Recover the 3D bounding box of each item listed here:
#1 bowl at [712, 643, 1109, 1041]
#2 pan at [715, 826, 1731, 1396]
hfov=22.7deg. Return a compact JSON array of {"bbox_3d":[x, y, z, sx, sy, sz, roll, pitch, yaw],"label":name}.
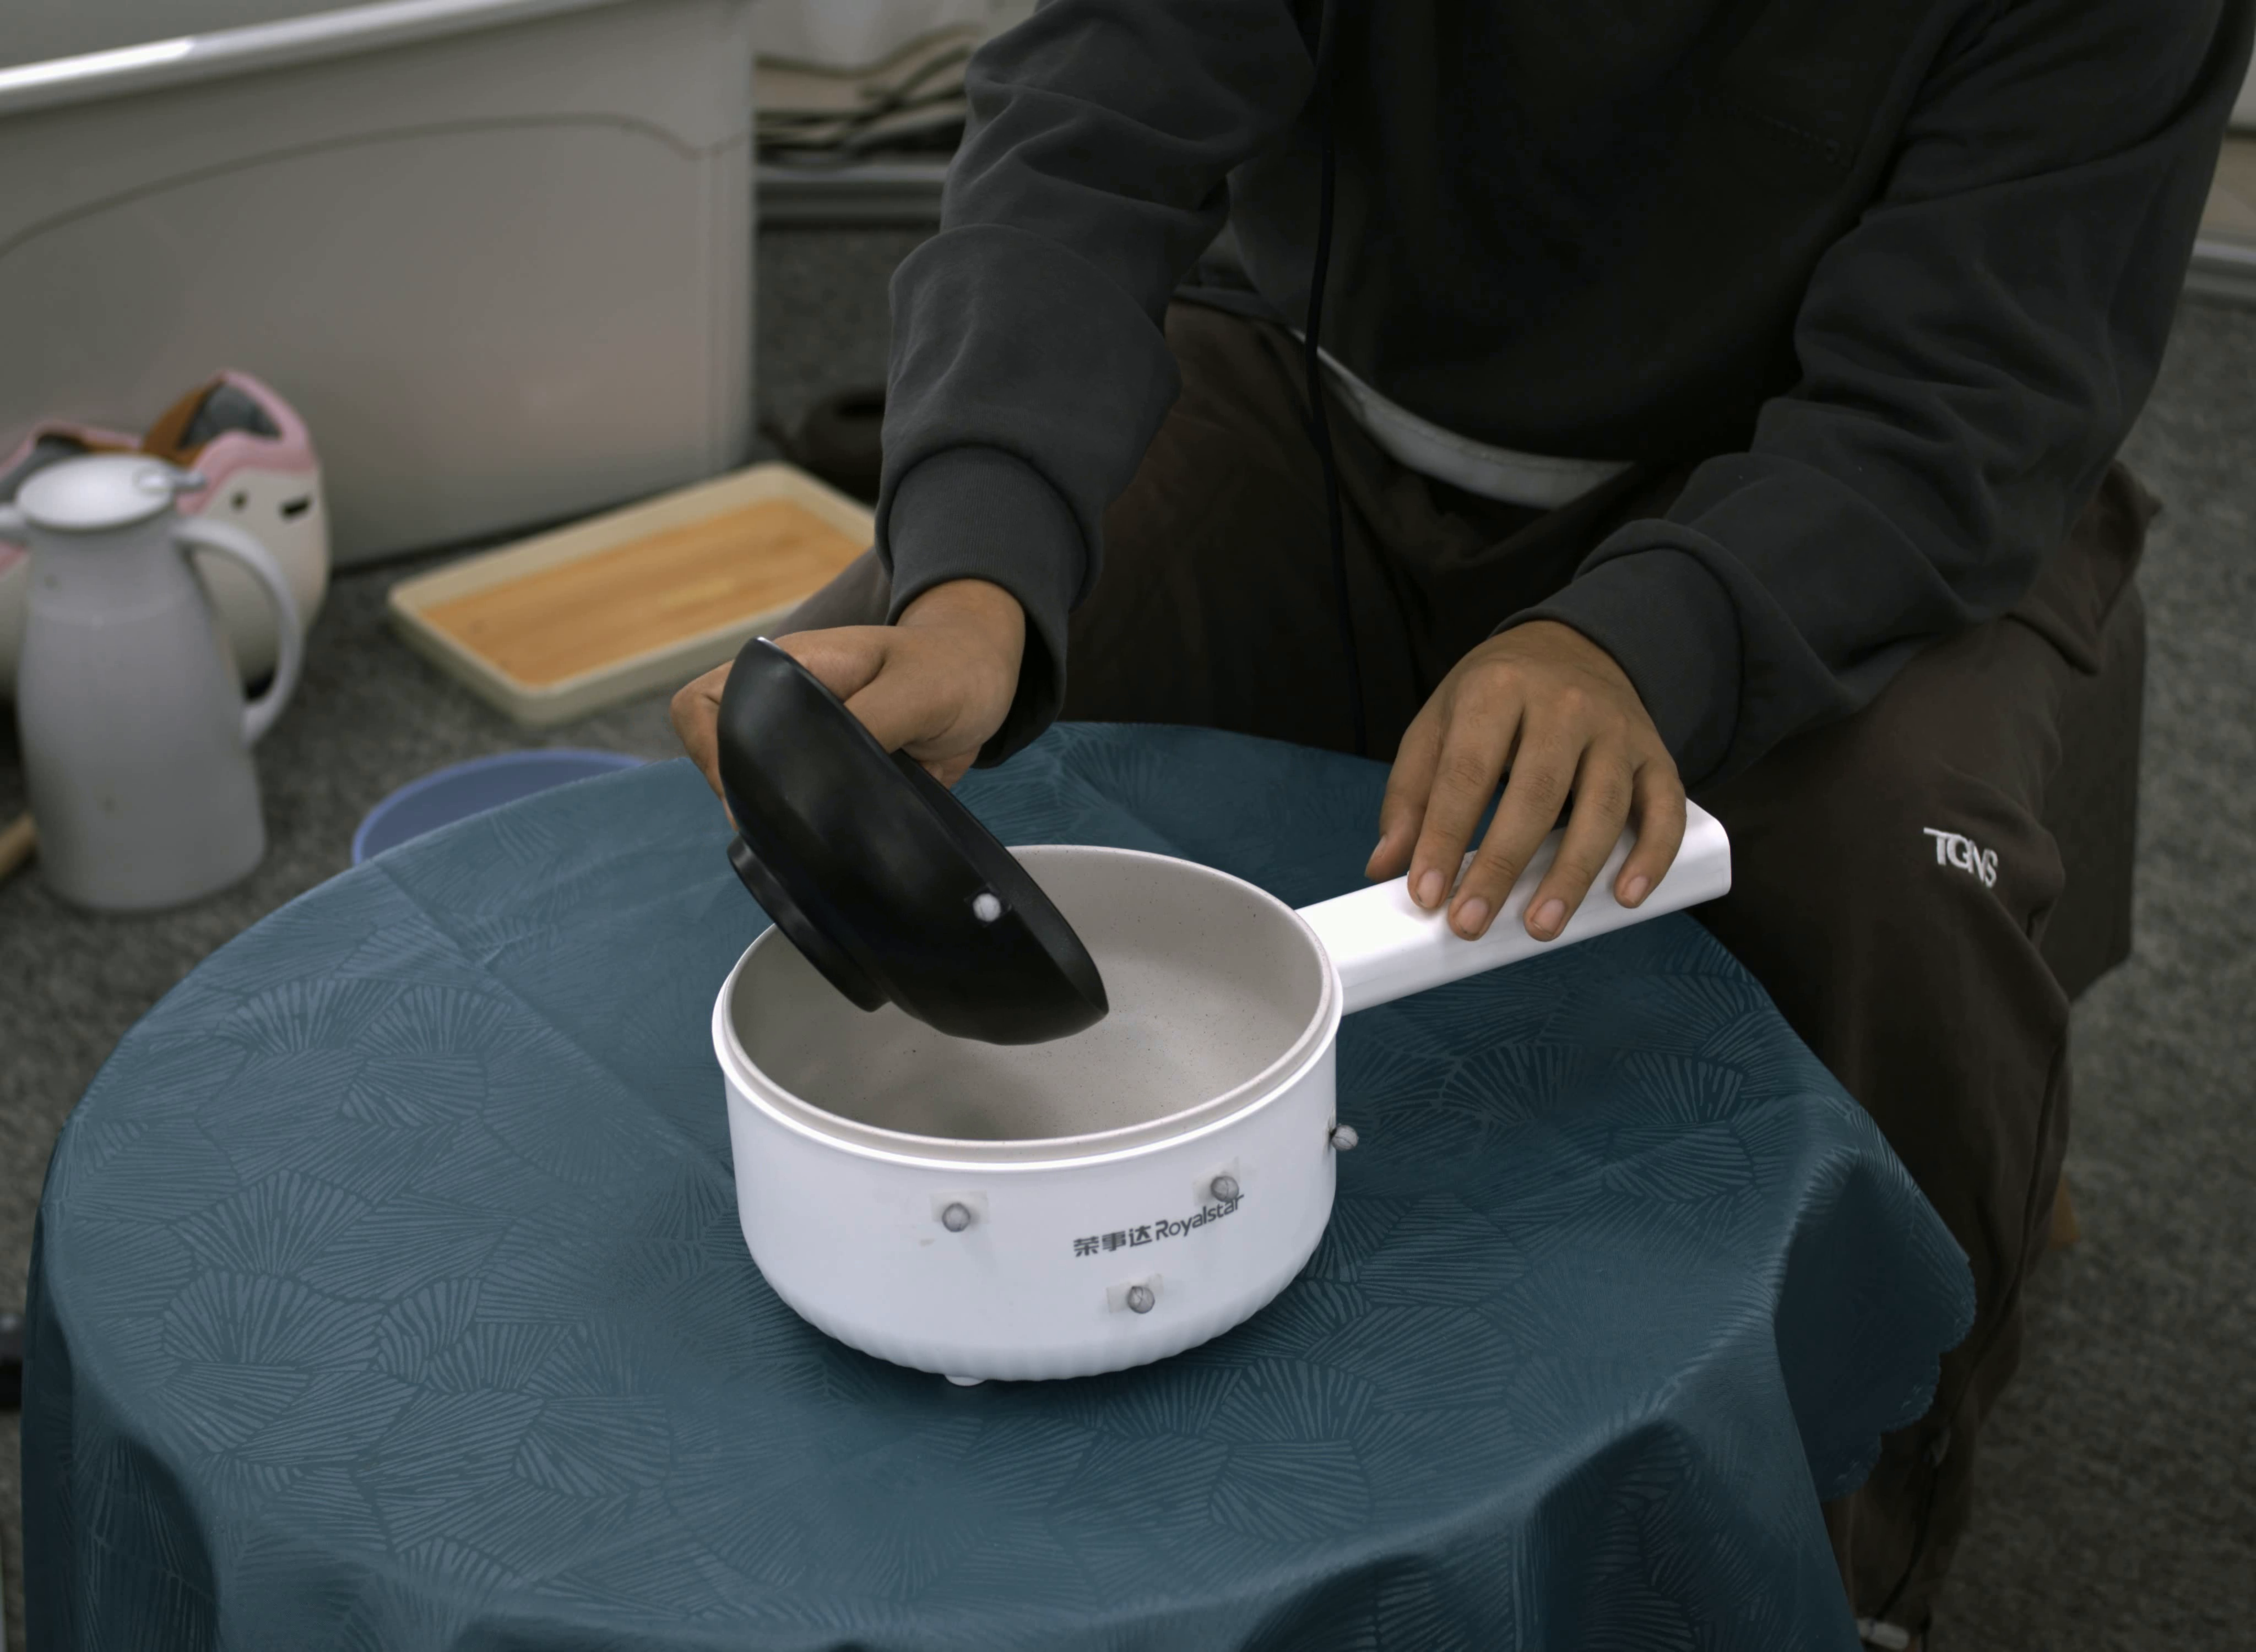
[{"bbox_3d":[-0.081,0.014,1.776,0.066,0.136,0.171,-43,68,1],"label":"bowl"},{"bbox_3d":[0.038,0.085,1.843,0.356,0.101,0.202,-14,25,-25],"label":"pan"}]
